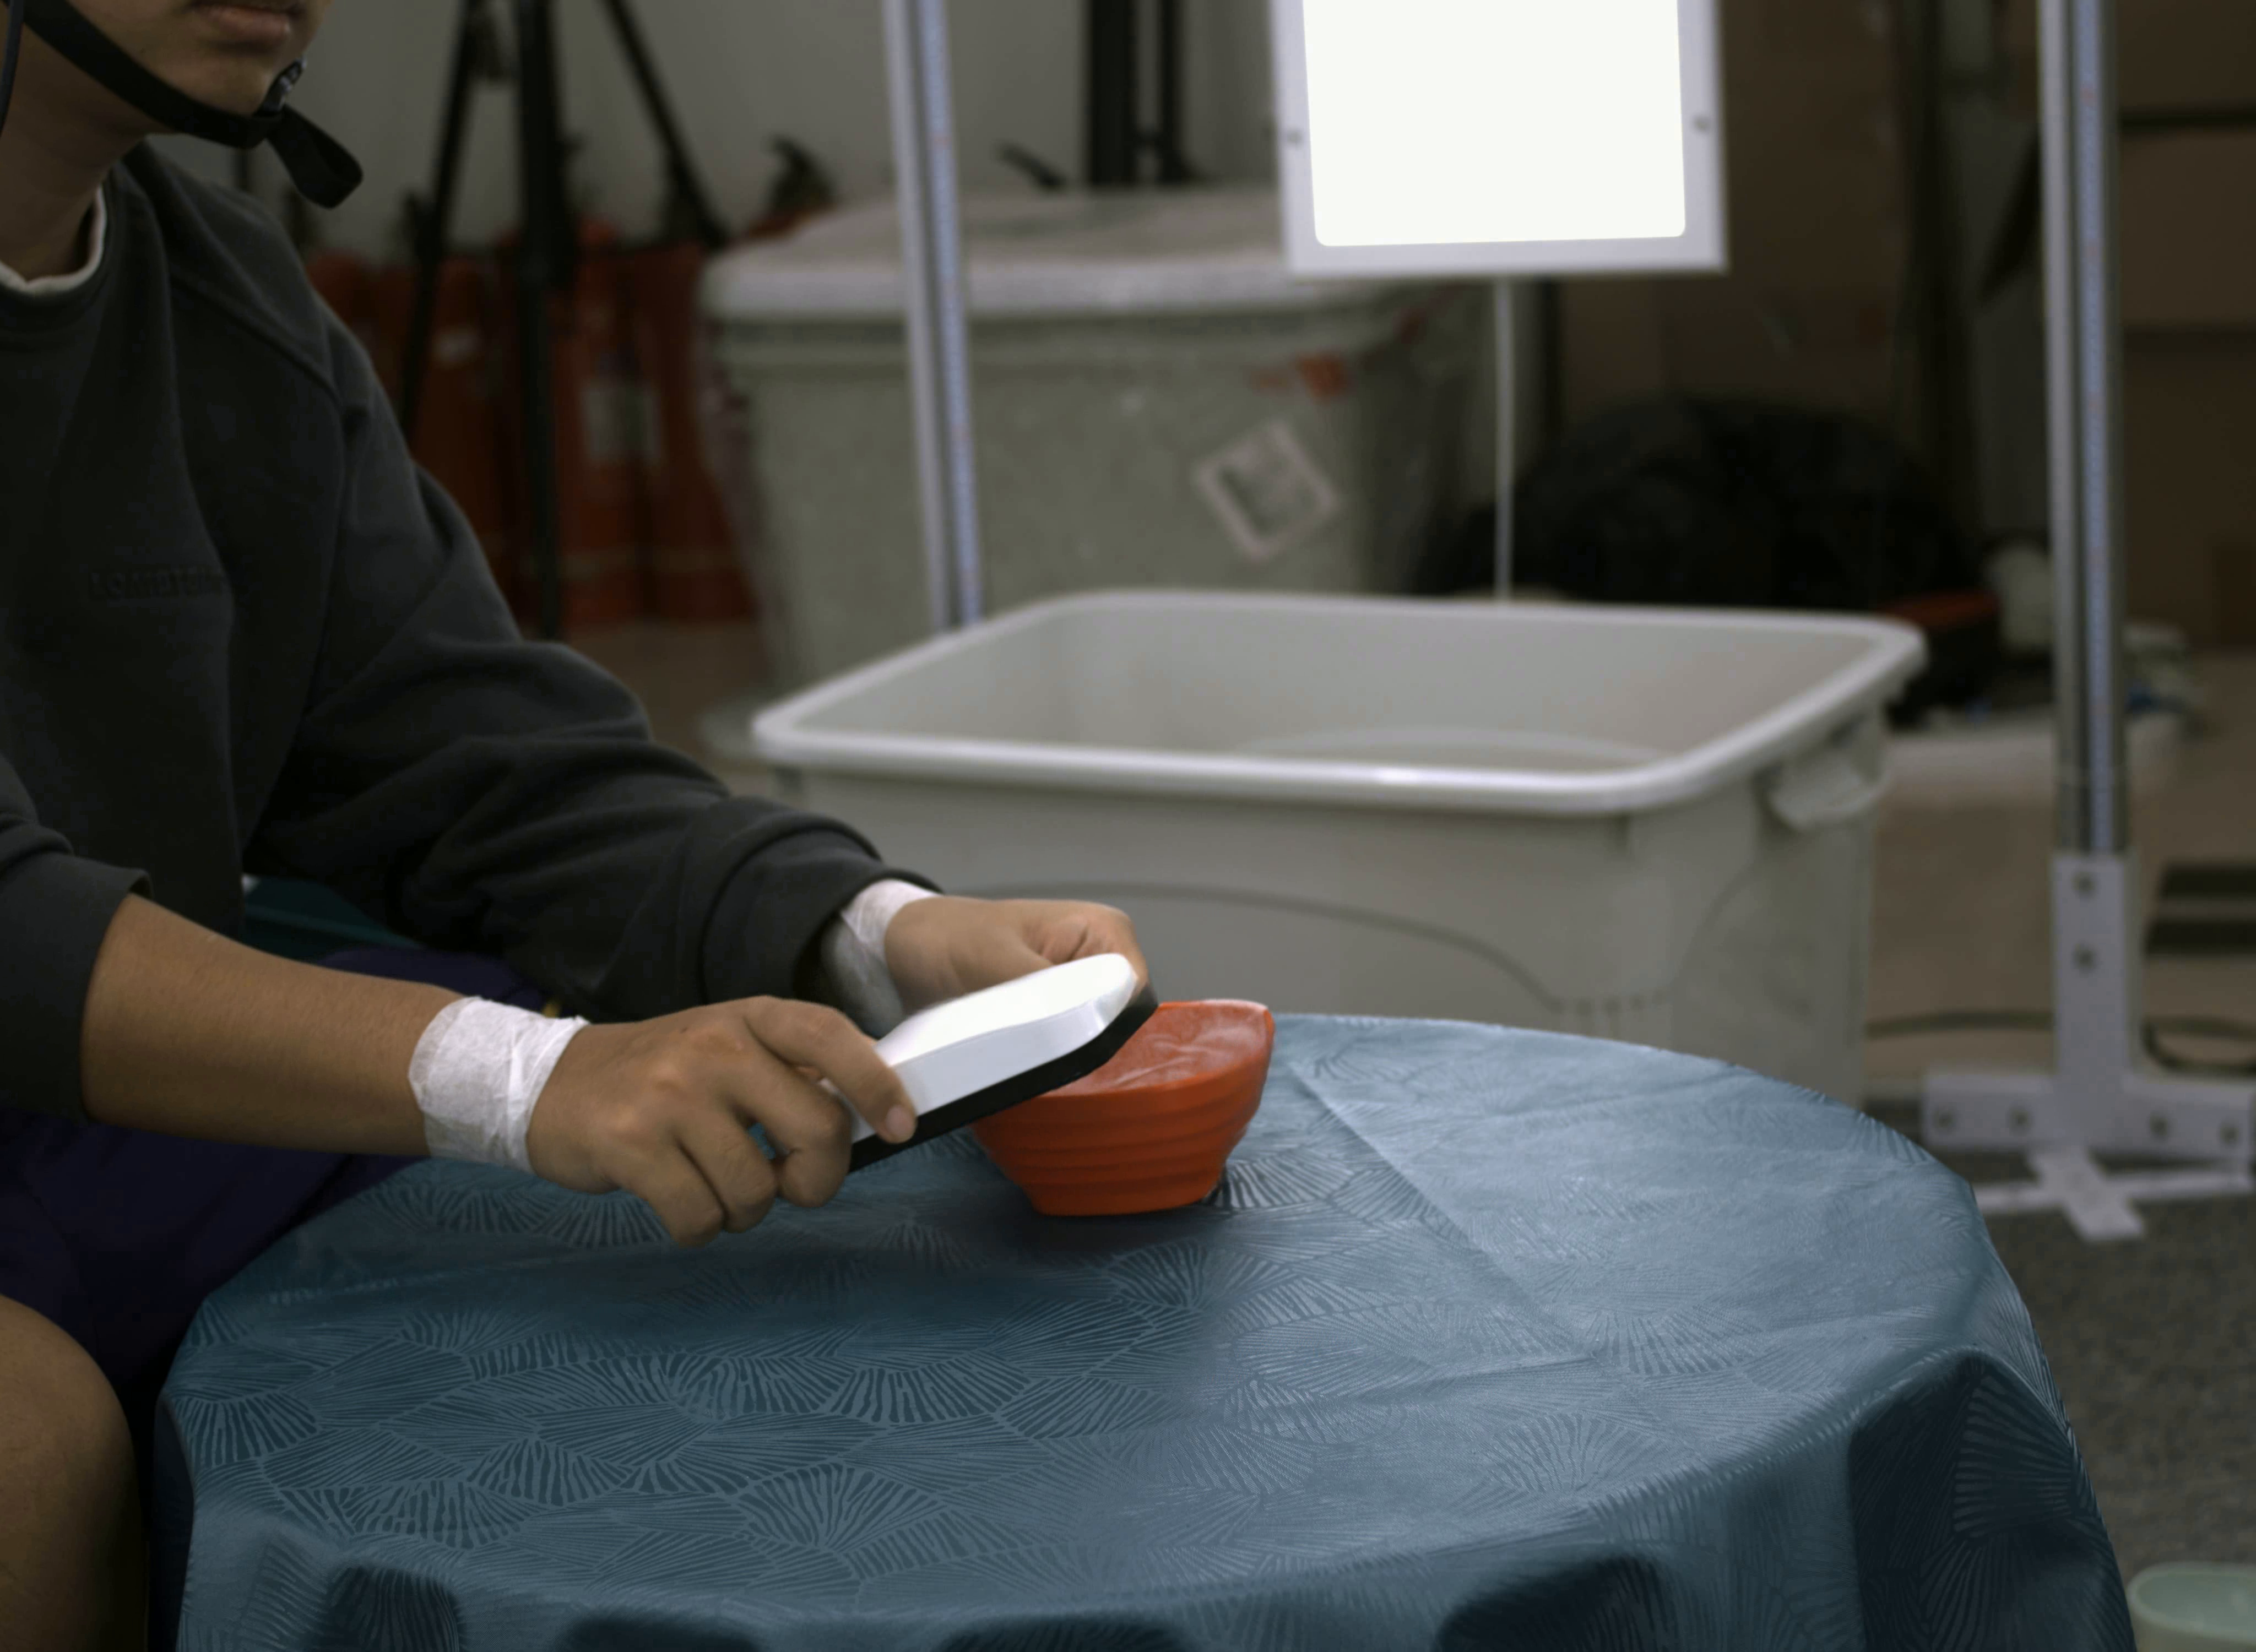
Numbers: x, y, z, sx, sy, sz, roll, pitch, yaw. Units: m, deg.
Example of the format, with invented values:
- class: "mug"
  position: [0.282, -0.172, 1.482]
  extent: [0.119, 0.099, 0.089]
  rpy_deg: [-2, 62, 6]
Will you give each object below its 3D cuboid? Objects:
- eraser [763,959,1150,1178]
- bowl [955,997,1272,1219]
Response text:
- class: "eraser"
  position: [-0.057, 0.077, 1.823]
  extent: [0.134, 0.034, 0.062]
  rpy_deg: [-21, 8, 28]
- class: "bowl"
  position: [-0.002, 0.100, 1.891]
  extent: [0.119, 0.051, 0.119]
  rpy_deg: [-11, 12, 1]
